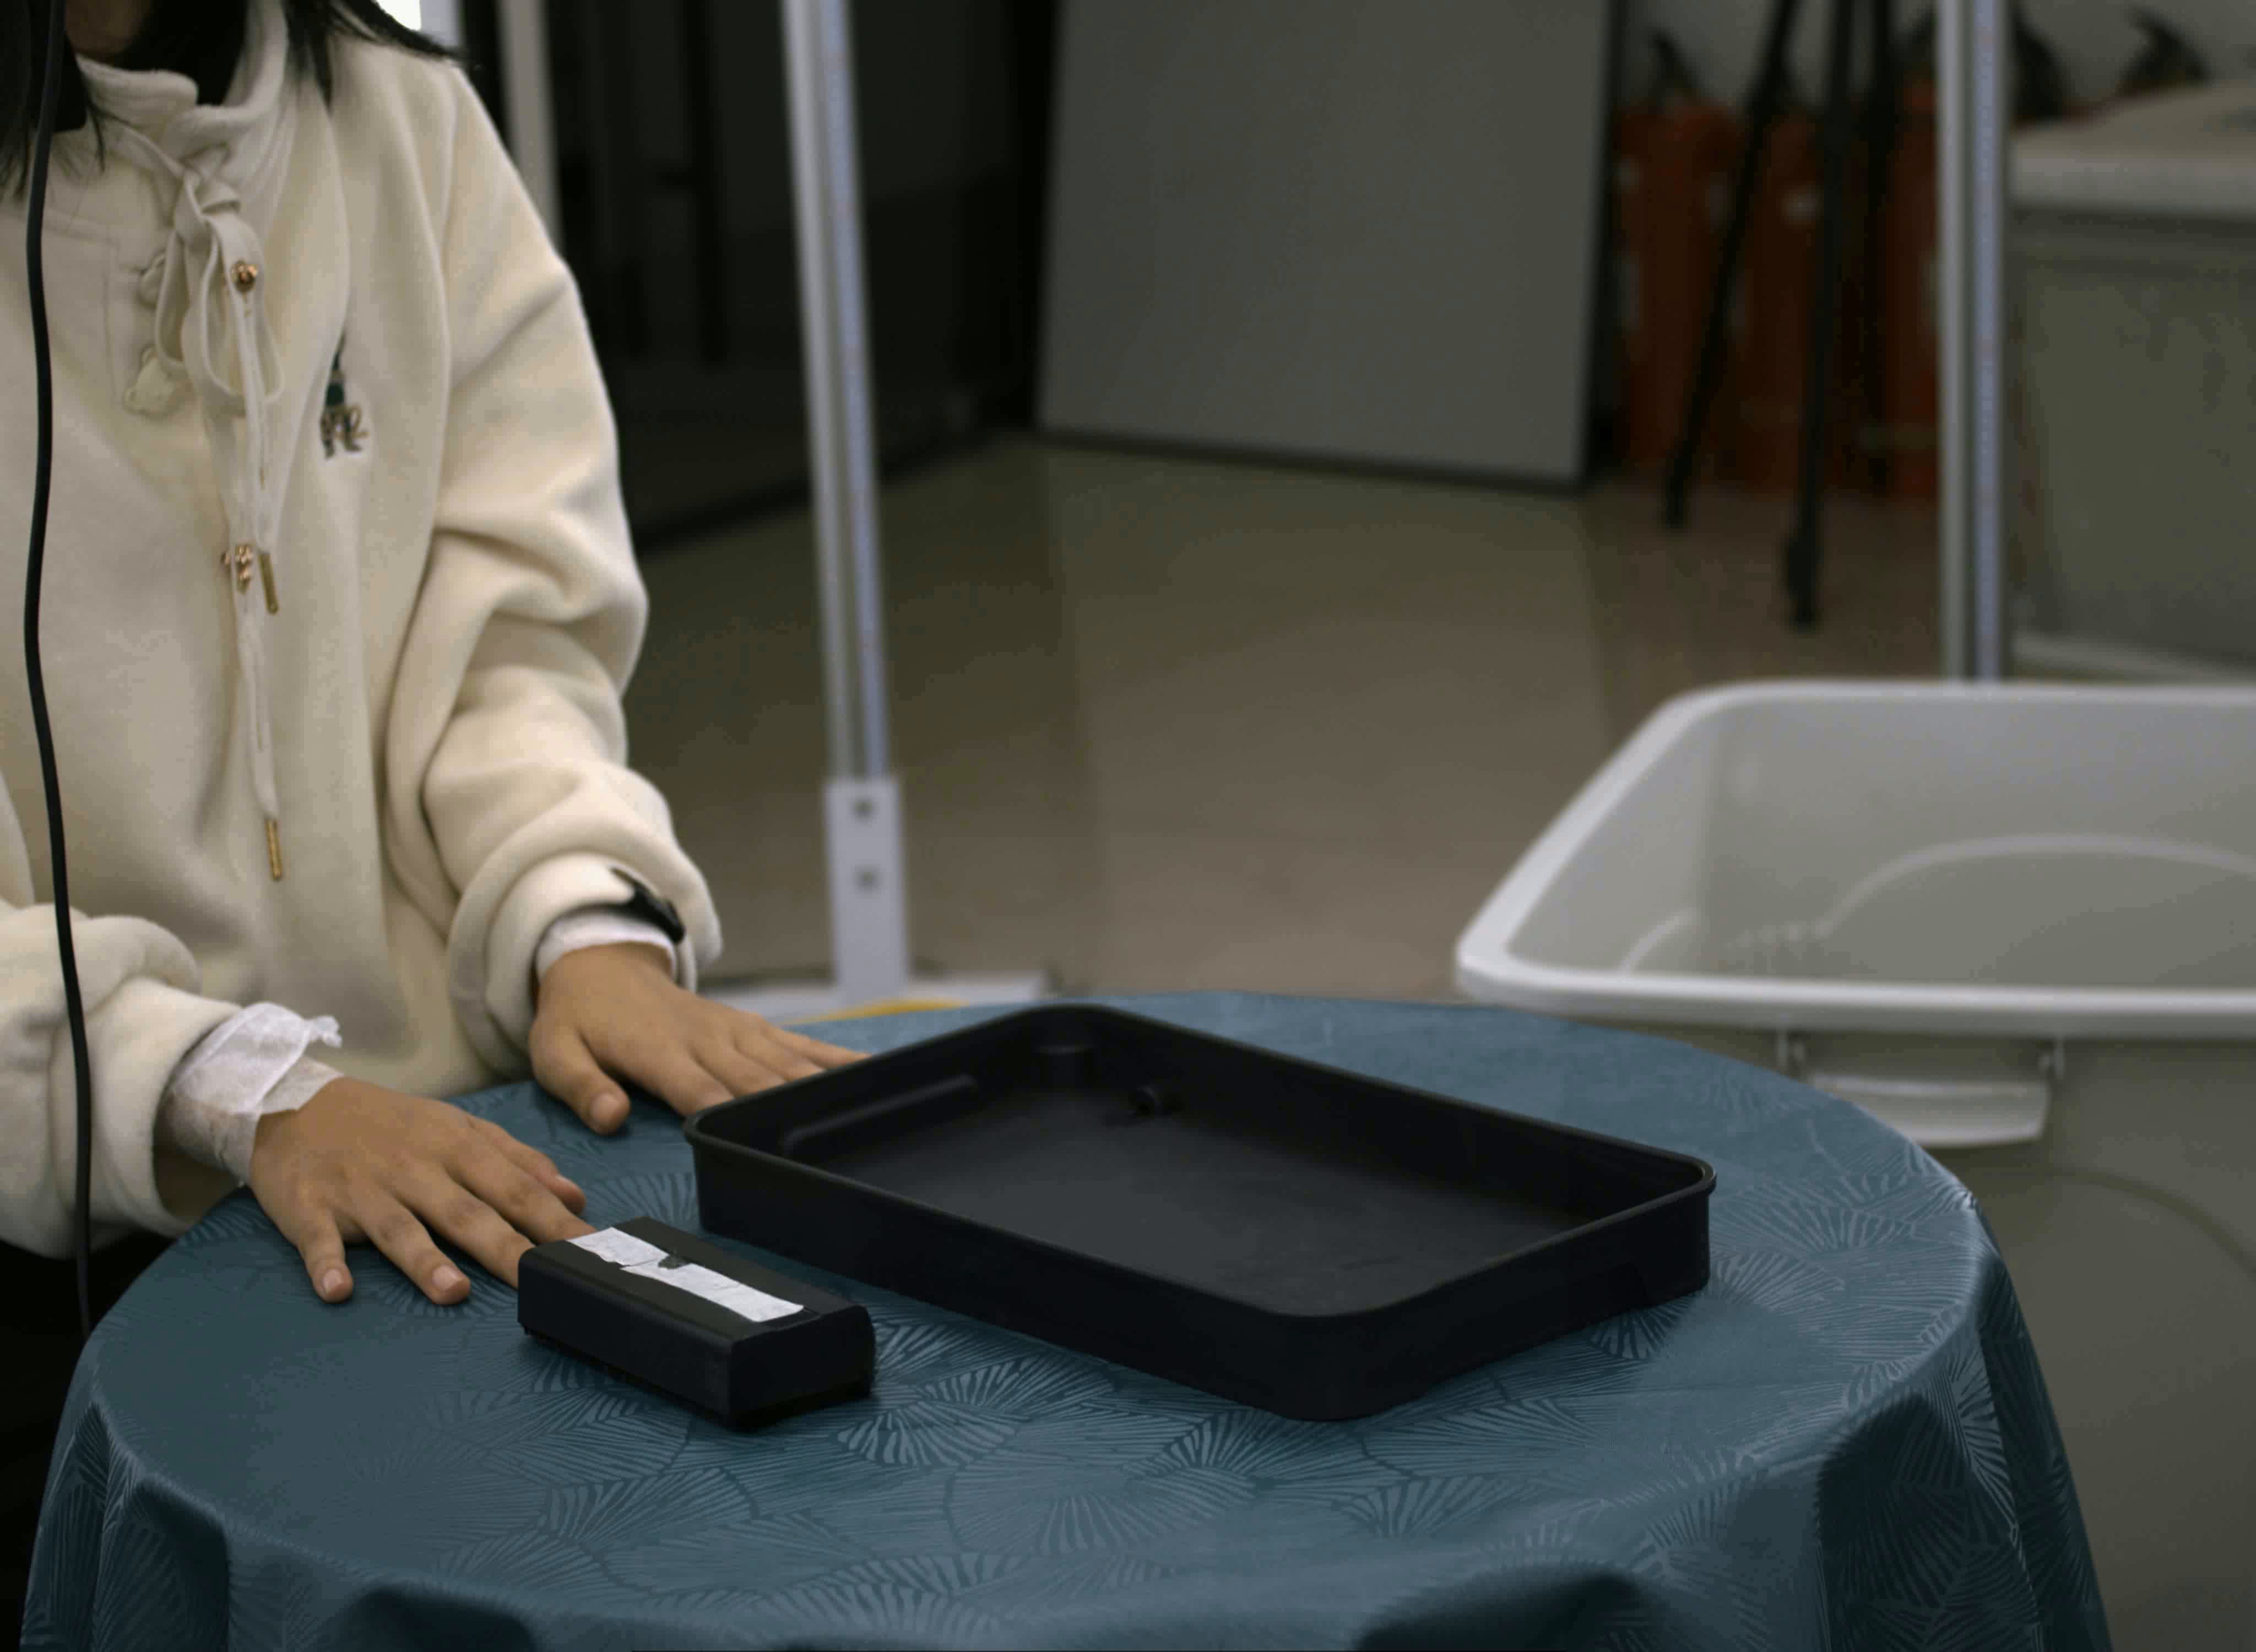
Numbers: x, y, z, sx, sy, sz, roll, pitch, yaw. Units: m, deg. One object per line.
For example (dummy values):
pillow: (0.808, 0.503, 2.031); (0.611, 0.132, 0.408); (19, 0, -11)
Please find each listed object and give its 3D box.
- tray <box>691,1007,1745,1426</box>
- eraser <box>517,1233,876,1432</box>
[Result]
tray: (0.025, 0.118, 1.697); (0.180, 0.037, 0.321); (-17, 19, -41)
eraser: (-0.130, 0.151, 1.628); (0.052, 0.031, 0.127); (-9, 14, -35)
